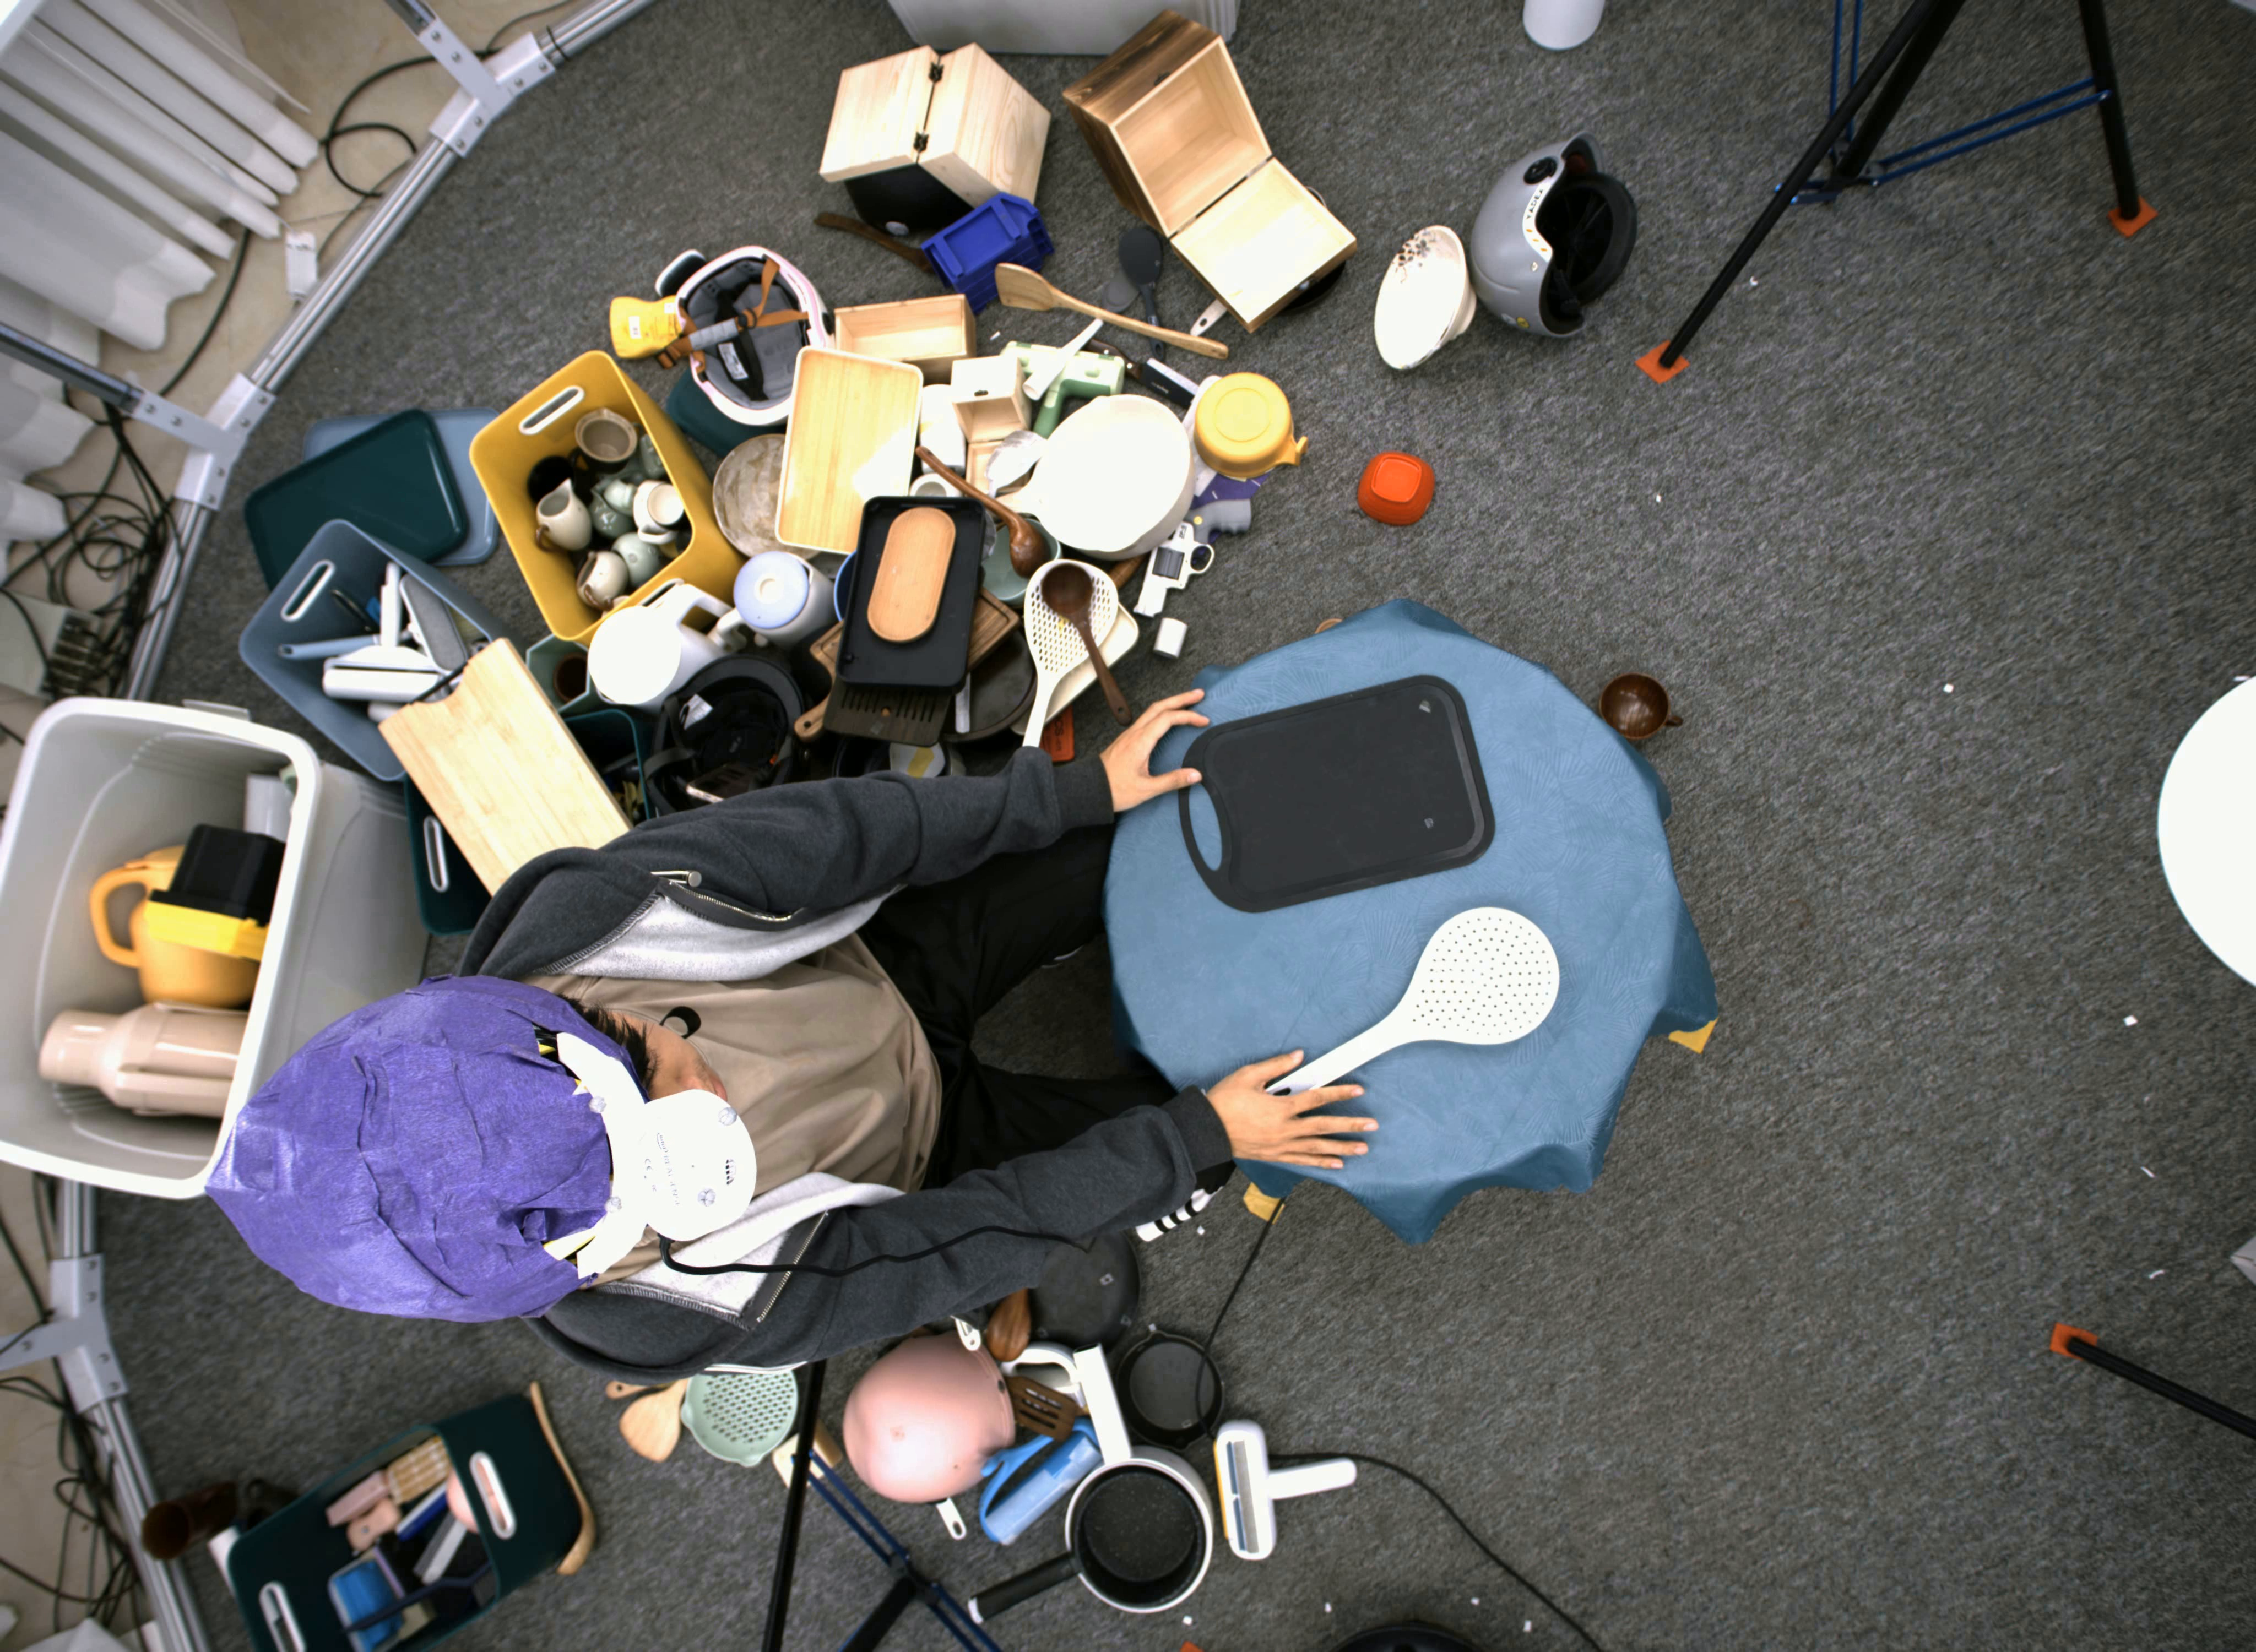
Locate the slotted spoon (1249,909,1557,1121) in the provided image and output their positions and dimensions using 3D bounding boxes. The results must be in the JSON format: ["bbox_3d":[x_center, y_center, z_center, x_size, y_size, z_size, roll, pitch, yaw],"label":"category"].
[{"bbox_3d":[0.278,0.208,1.426,0.352,0.046,0.134,-31,71,8],"label":"slotted spoon"}]

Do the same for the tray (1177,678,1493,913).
[{"bbox_3d":[0.214,-0.031,1.472,0.327,0.010,0.210,-13,84,9],"label":"tray"}]
